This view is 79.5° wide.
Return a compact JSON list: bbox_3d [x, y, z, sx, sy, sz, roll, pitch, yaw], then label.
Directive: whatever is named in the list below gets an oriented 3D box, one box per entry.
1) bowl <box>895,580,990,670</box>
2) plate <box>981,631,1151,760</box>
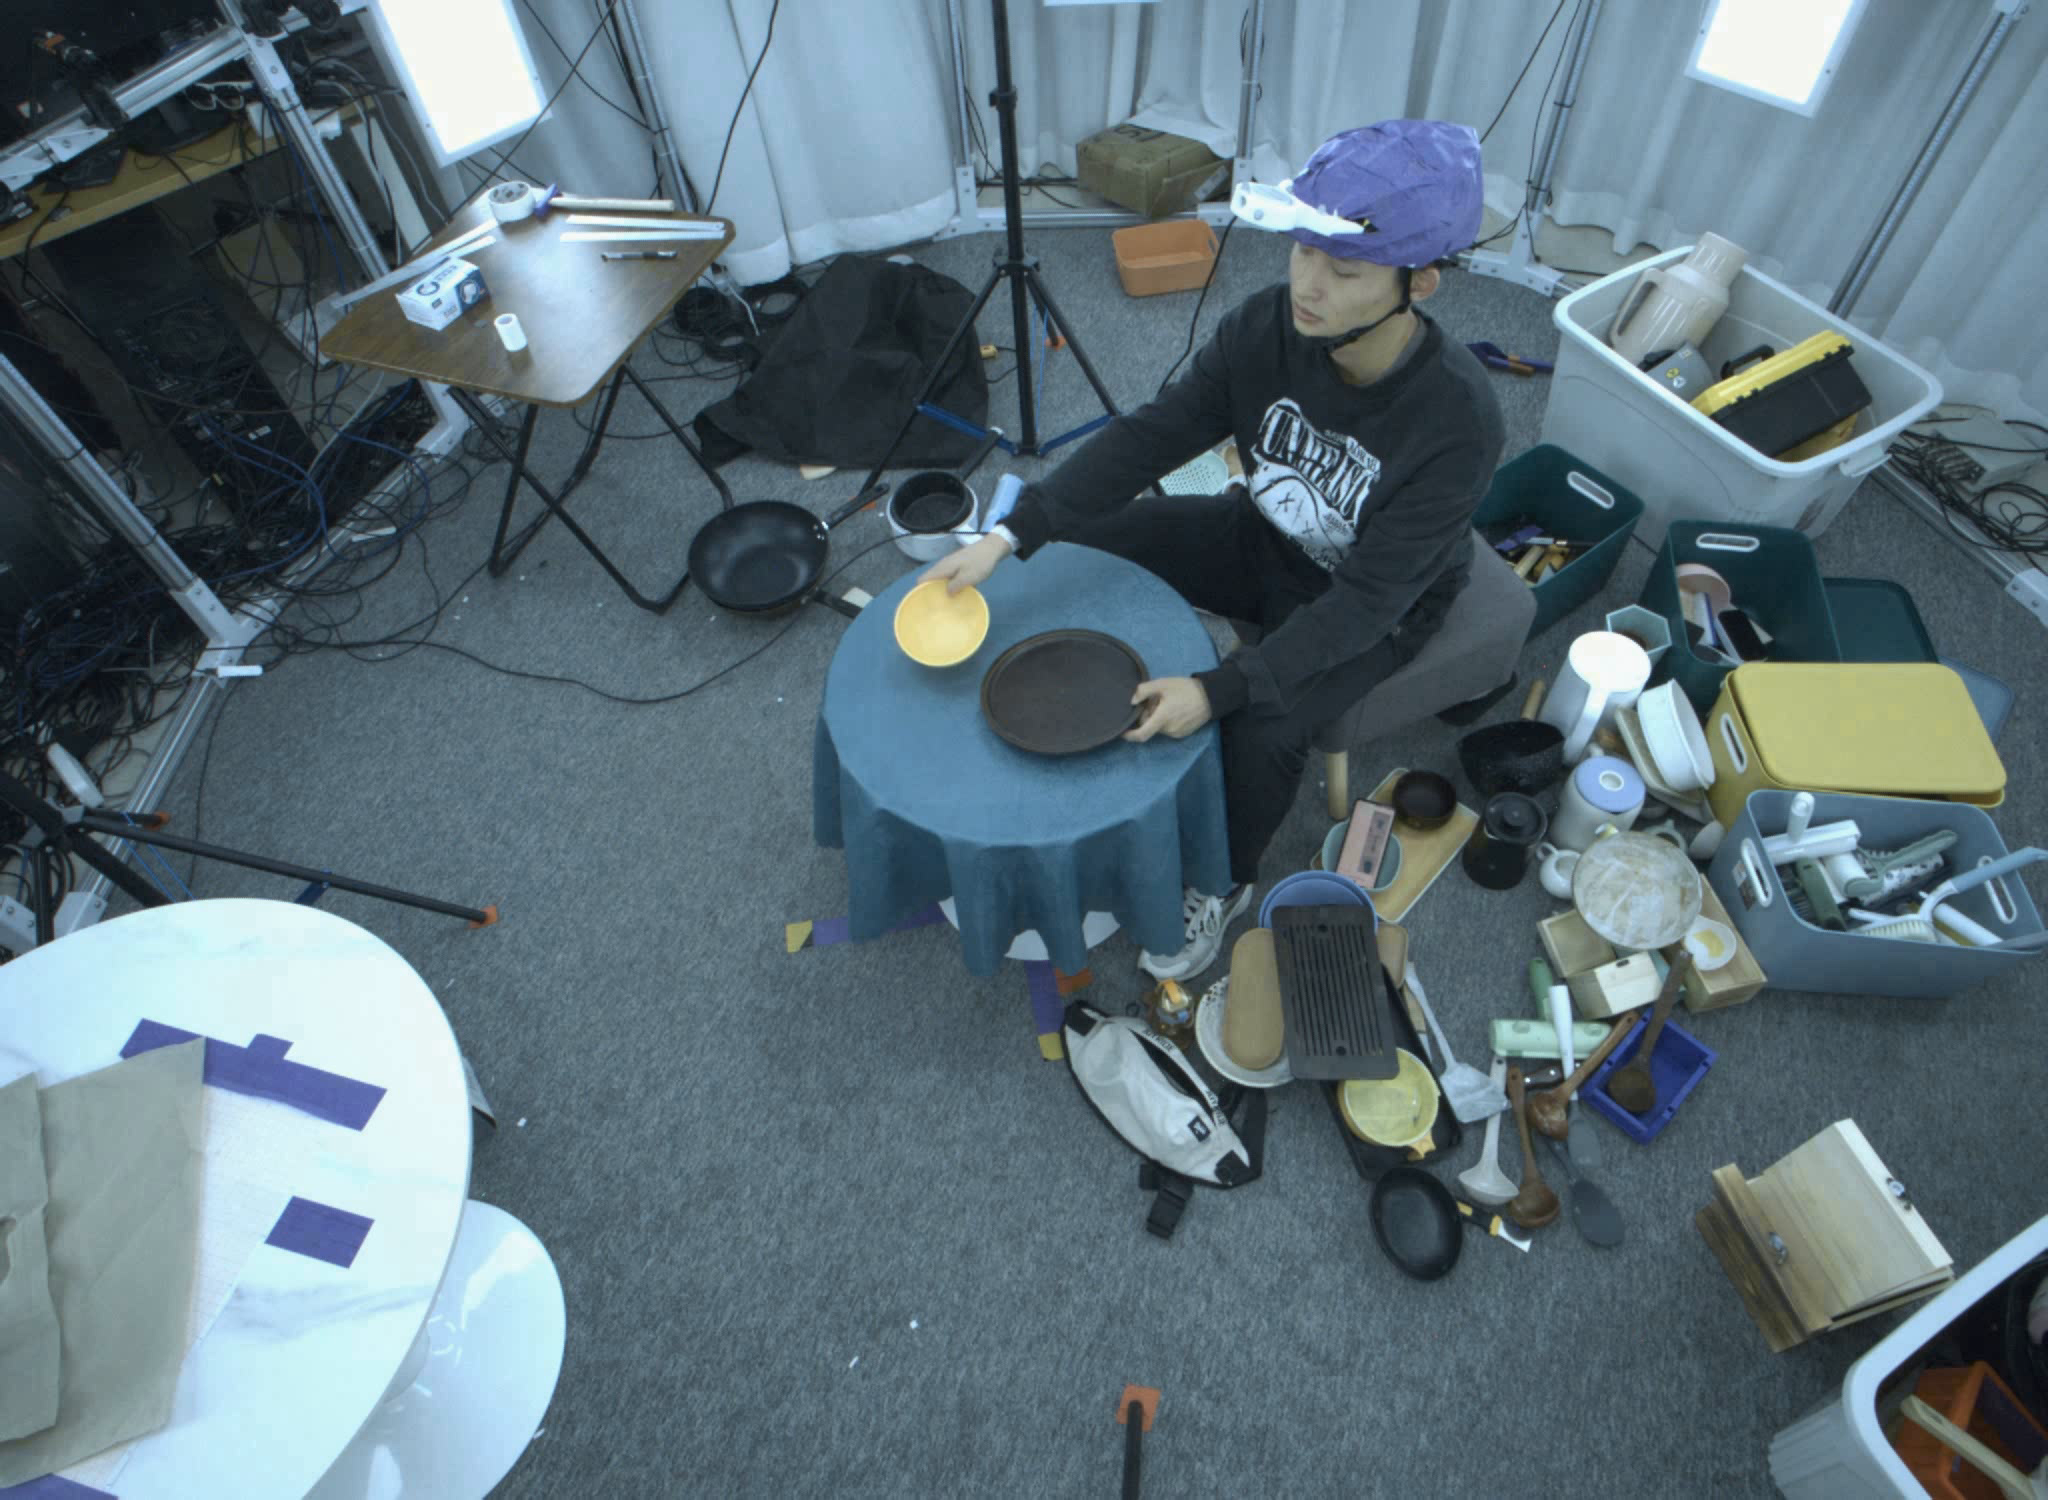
[{"bbox_3d":[-0.121,-0.181,1.870,0.145,0.060,0.144,0,73,2],"label":"bowl"},{"bbox_3d":[0.062,-0.082,1.825,0.254,0.029,0.252,-2,49,4],"label":"plate"}]
